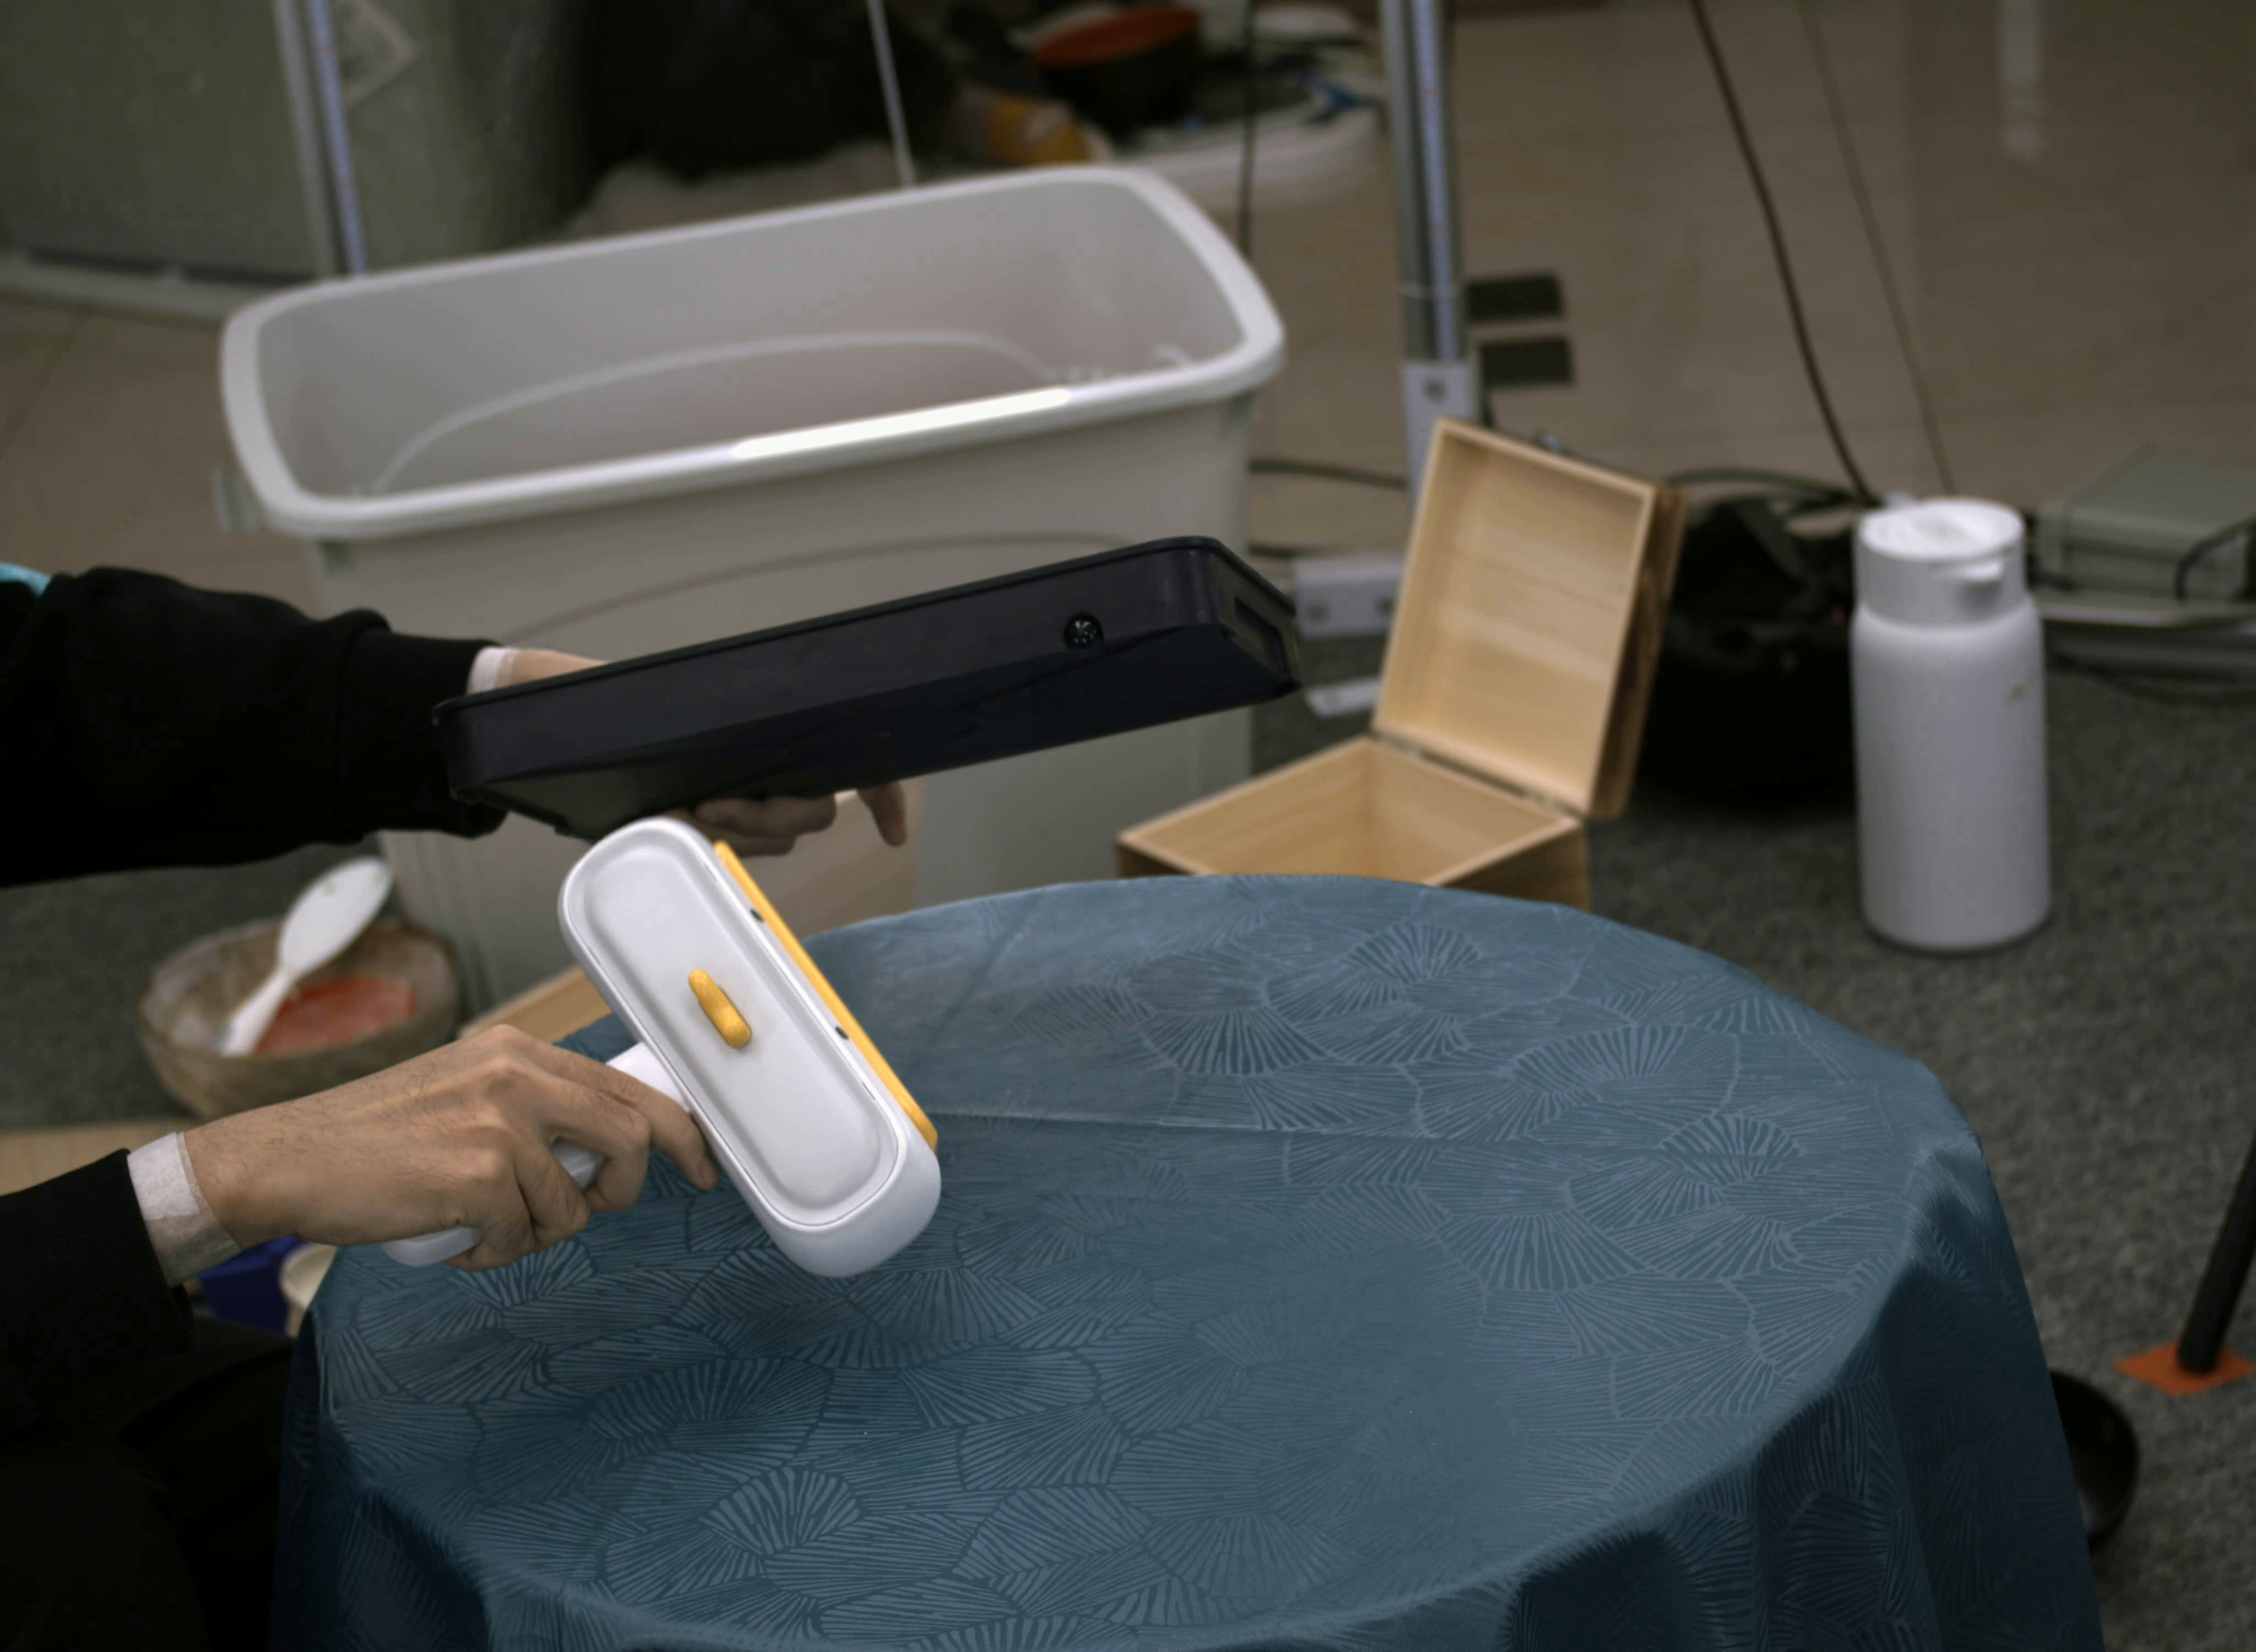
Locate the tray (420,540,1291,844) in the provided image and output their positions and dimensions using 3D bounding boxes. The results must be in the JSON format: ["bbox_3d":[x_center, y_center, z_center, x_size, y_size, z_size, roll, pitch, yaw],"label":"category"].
[{"bbox_3d":[-0.102,-0.049,2.217,0.318,0.037,0.185,-11,-10,11],"label":"tray"}]

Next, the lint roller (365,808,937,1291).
[{"bbox_3d":[-0.189,0.104,2.040,0.191,0.075,0.191,-36,72,-14],"label":"lint roller"}]
